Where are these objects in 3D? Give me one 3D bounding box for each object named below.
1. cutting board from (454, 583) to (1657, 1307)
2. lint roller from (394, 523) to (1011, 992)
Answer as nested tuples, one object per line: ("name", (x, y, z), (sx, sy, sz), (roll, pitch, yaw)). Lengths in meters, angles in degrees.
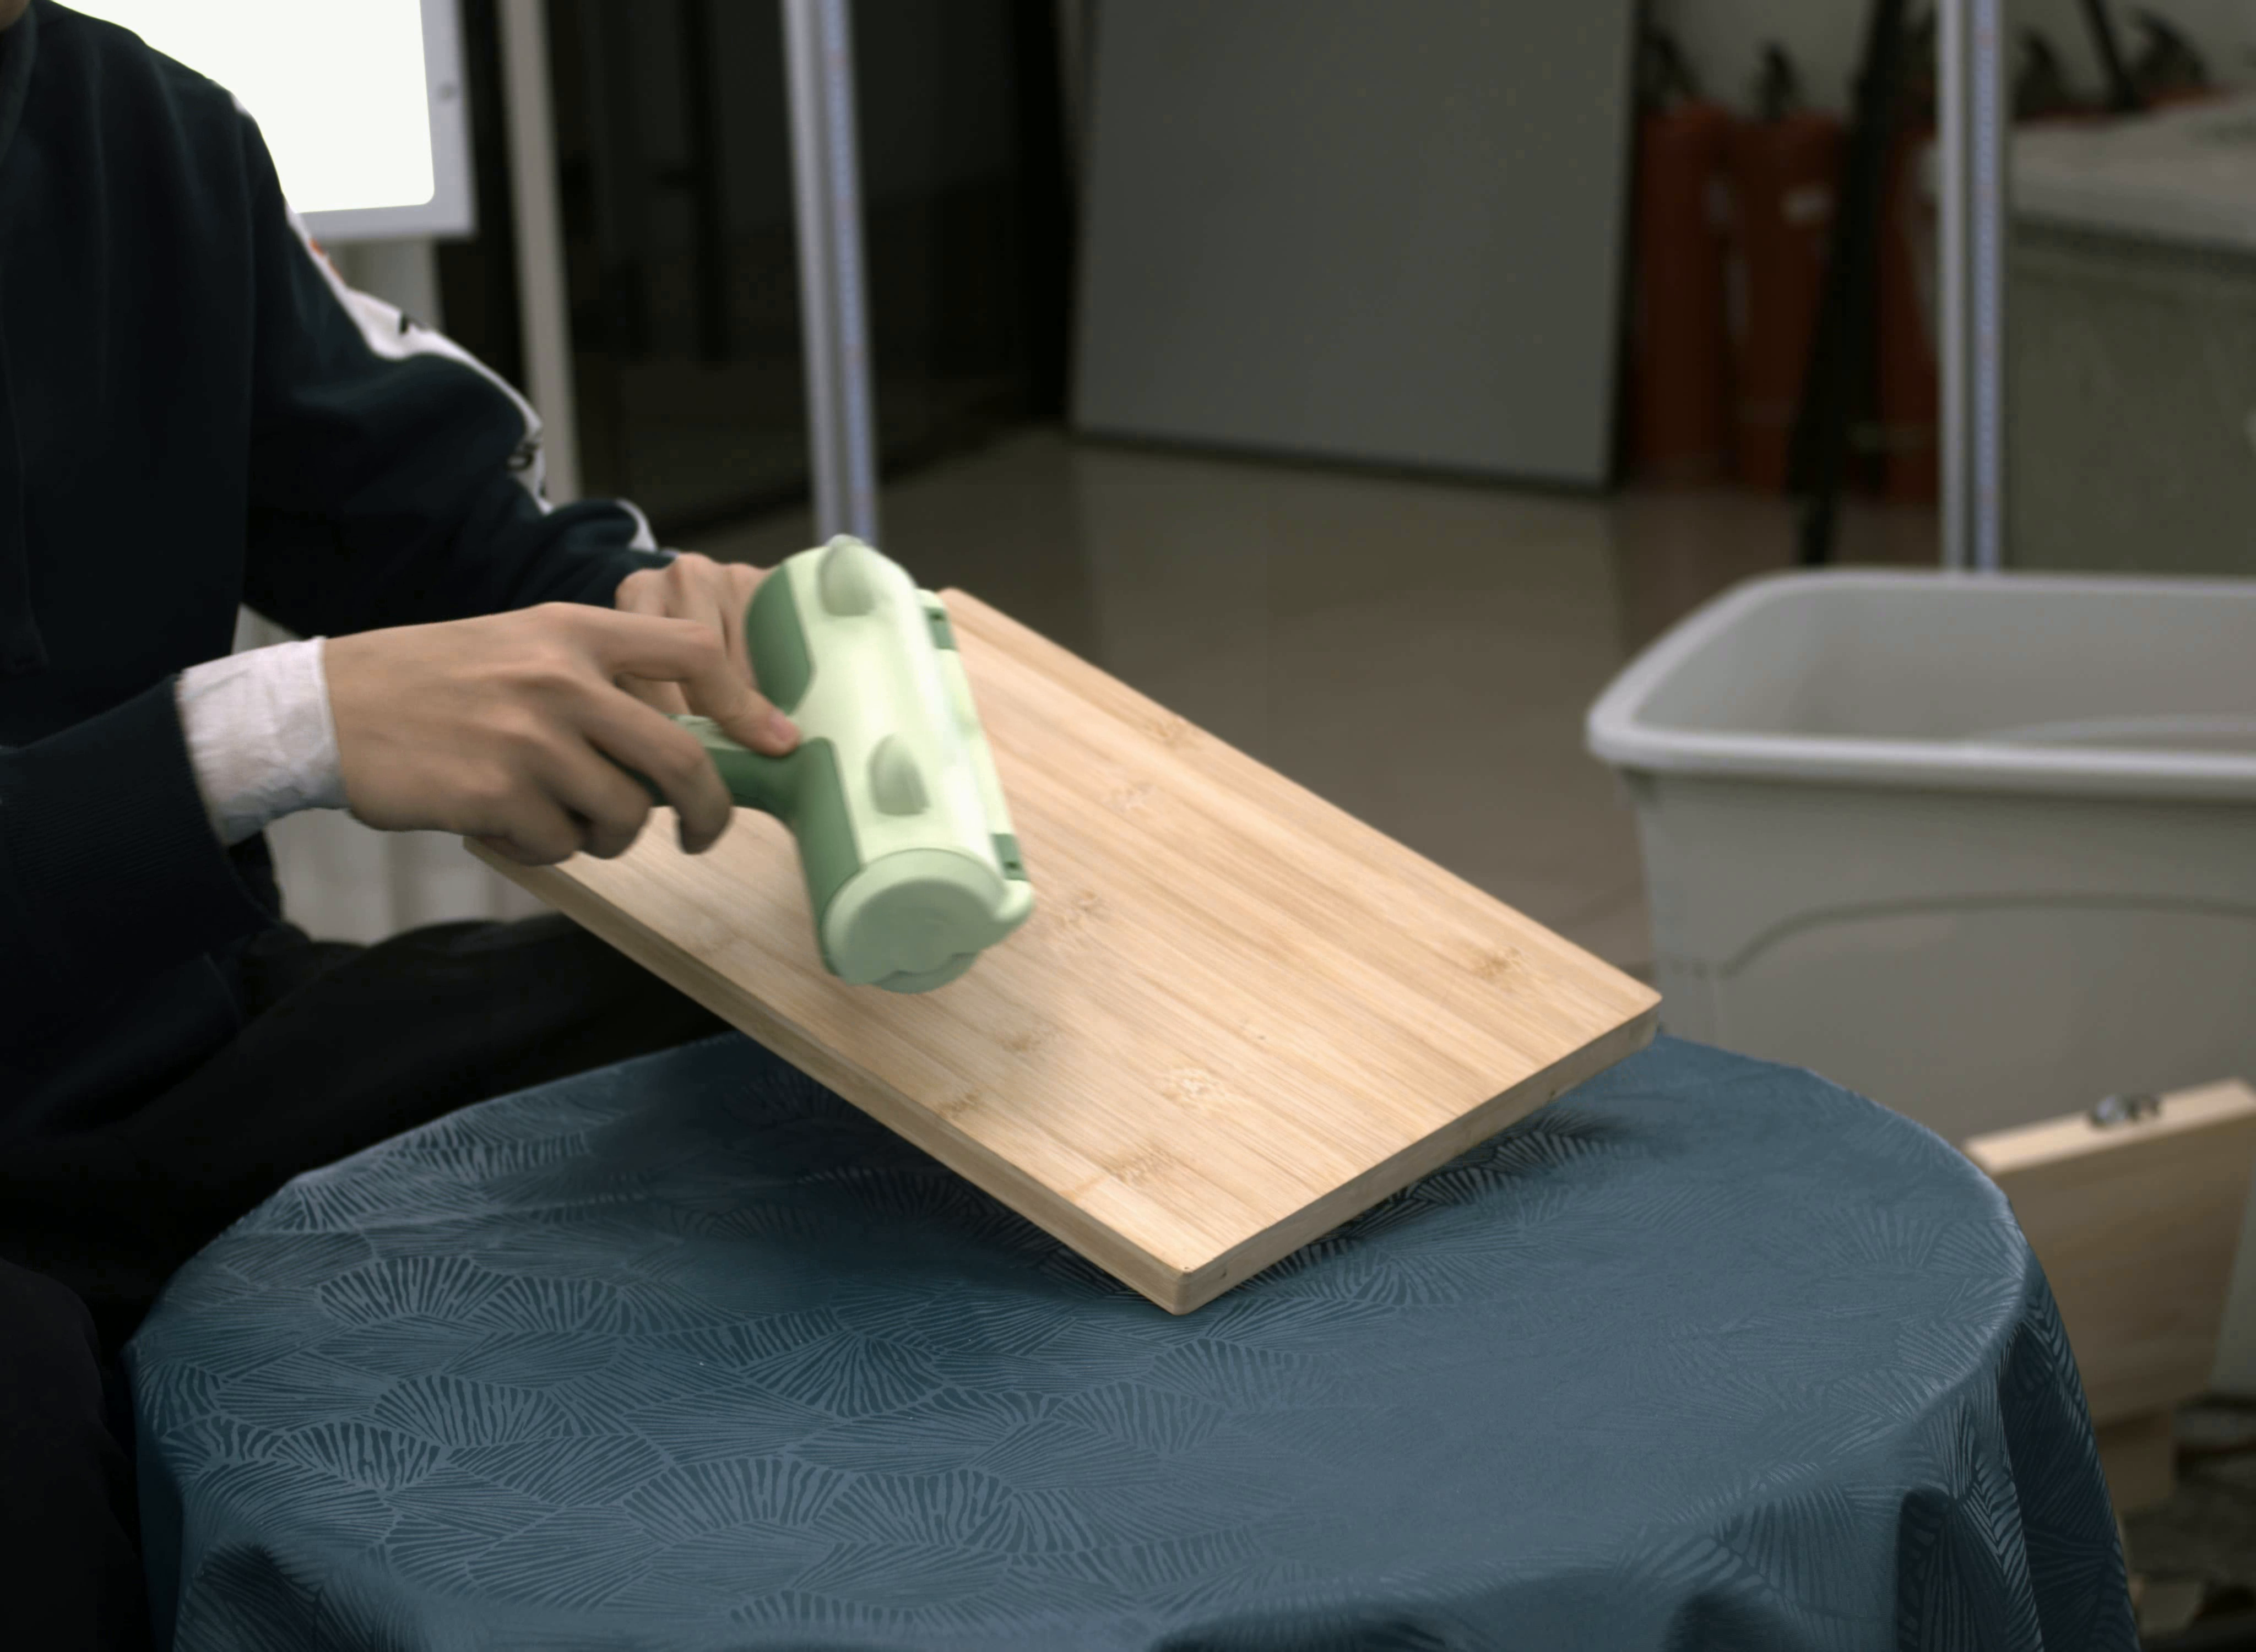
("cutting board", (-0.027, 0.031, 1.819), (0.352, 0.024, 0.246), (30, 39, 34))
("lint roller", (-0.138, -0.035, 1.721), (0.179, 0.083, 0.200), (7, 33, -16))
